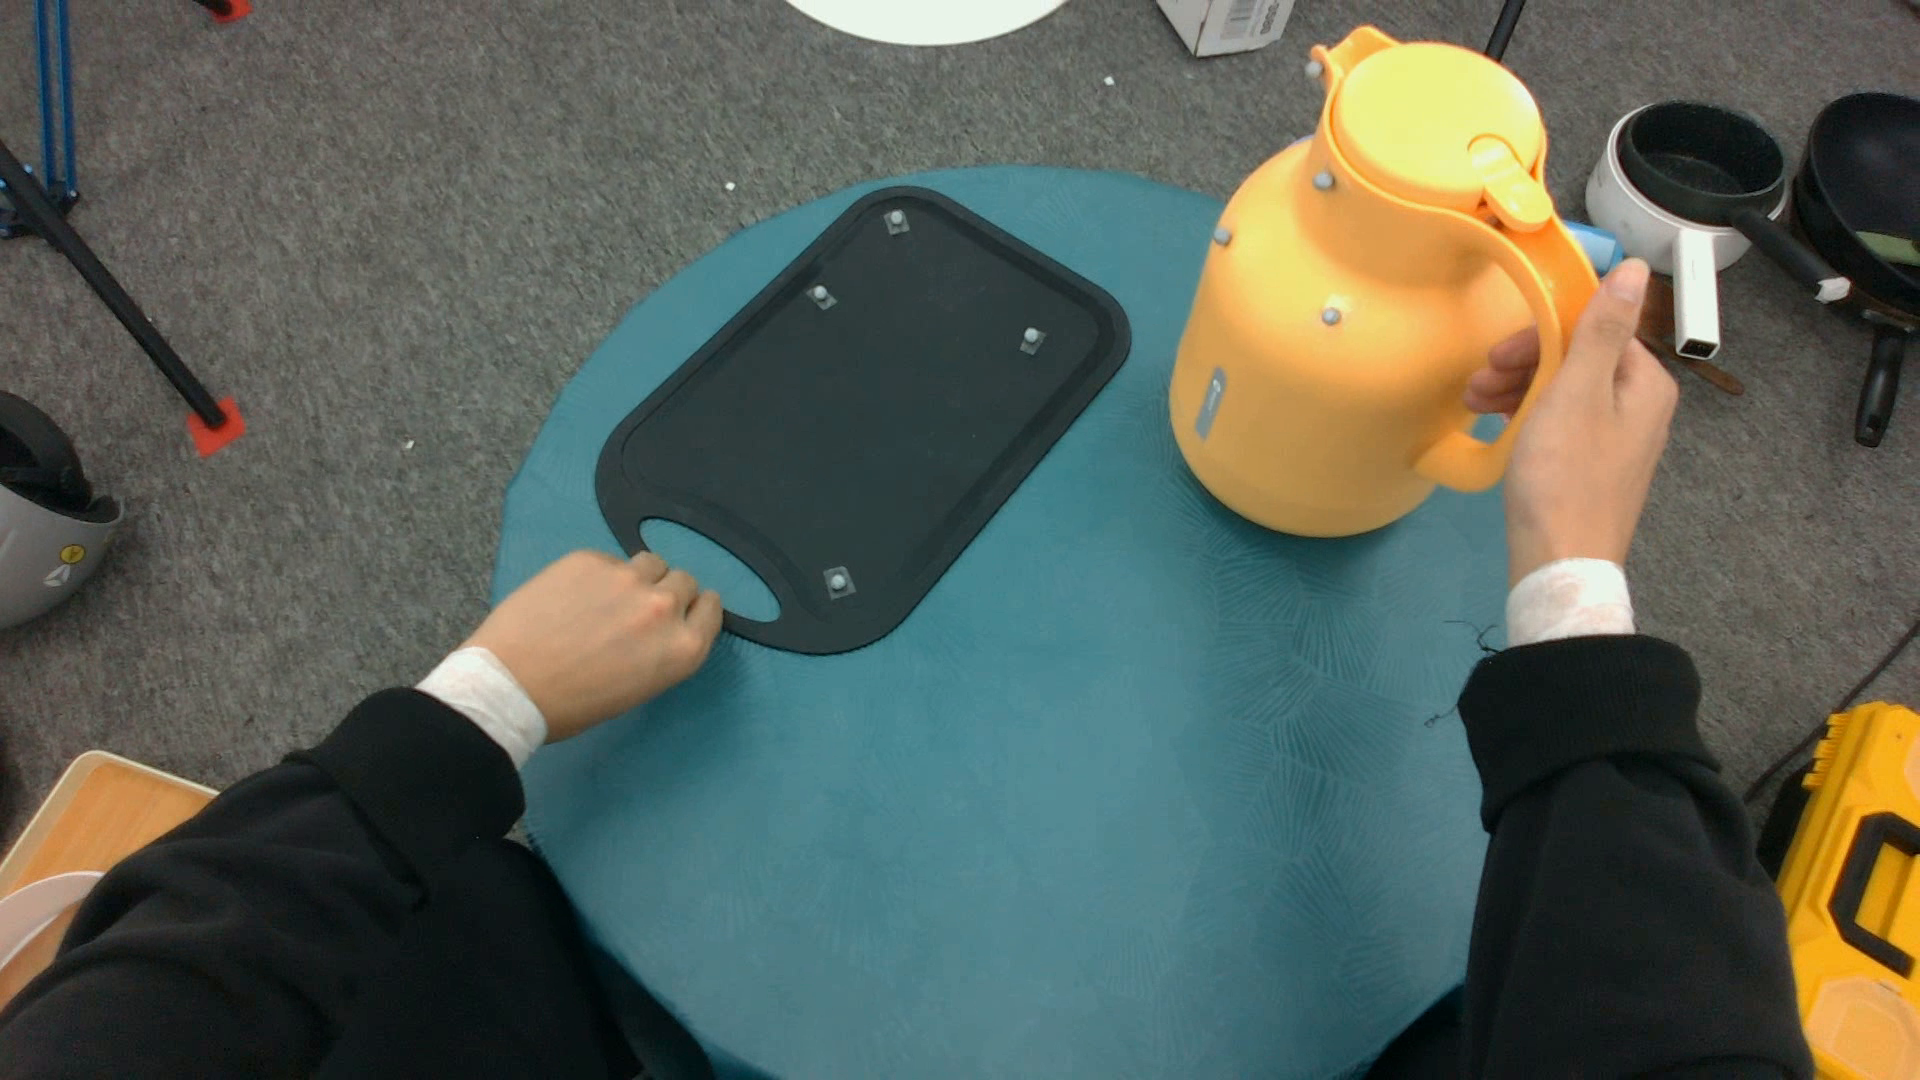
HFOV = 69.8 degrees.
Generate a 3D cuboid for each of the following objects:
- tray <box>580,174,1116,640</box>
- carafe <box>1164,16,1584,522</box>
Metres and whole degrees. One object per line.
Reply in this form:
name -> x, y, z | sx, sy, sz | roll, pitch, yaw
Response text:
tray -> -0.064, -0.088, 0.812 | 0.211, 0.010, 0.327 | 34, 65, 16
carafe -> 0.206, -0.116, 0.695 | 0.164, 0.259, 0.203 | -25, 63, -13
